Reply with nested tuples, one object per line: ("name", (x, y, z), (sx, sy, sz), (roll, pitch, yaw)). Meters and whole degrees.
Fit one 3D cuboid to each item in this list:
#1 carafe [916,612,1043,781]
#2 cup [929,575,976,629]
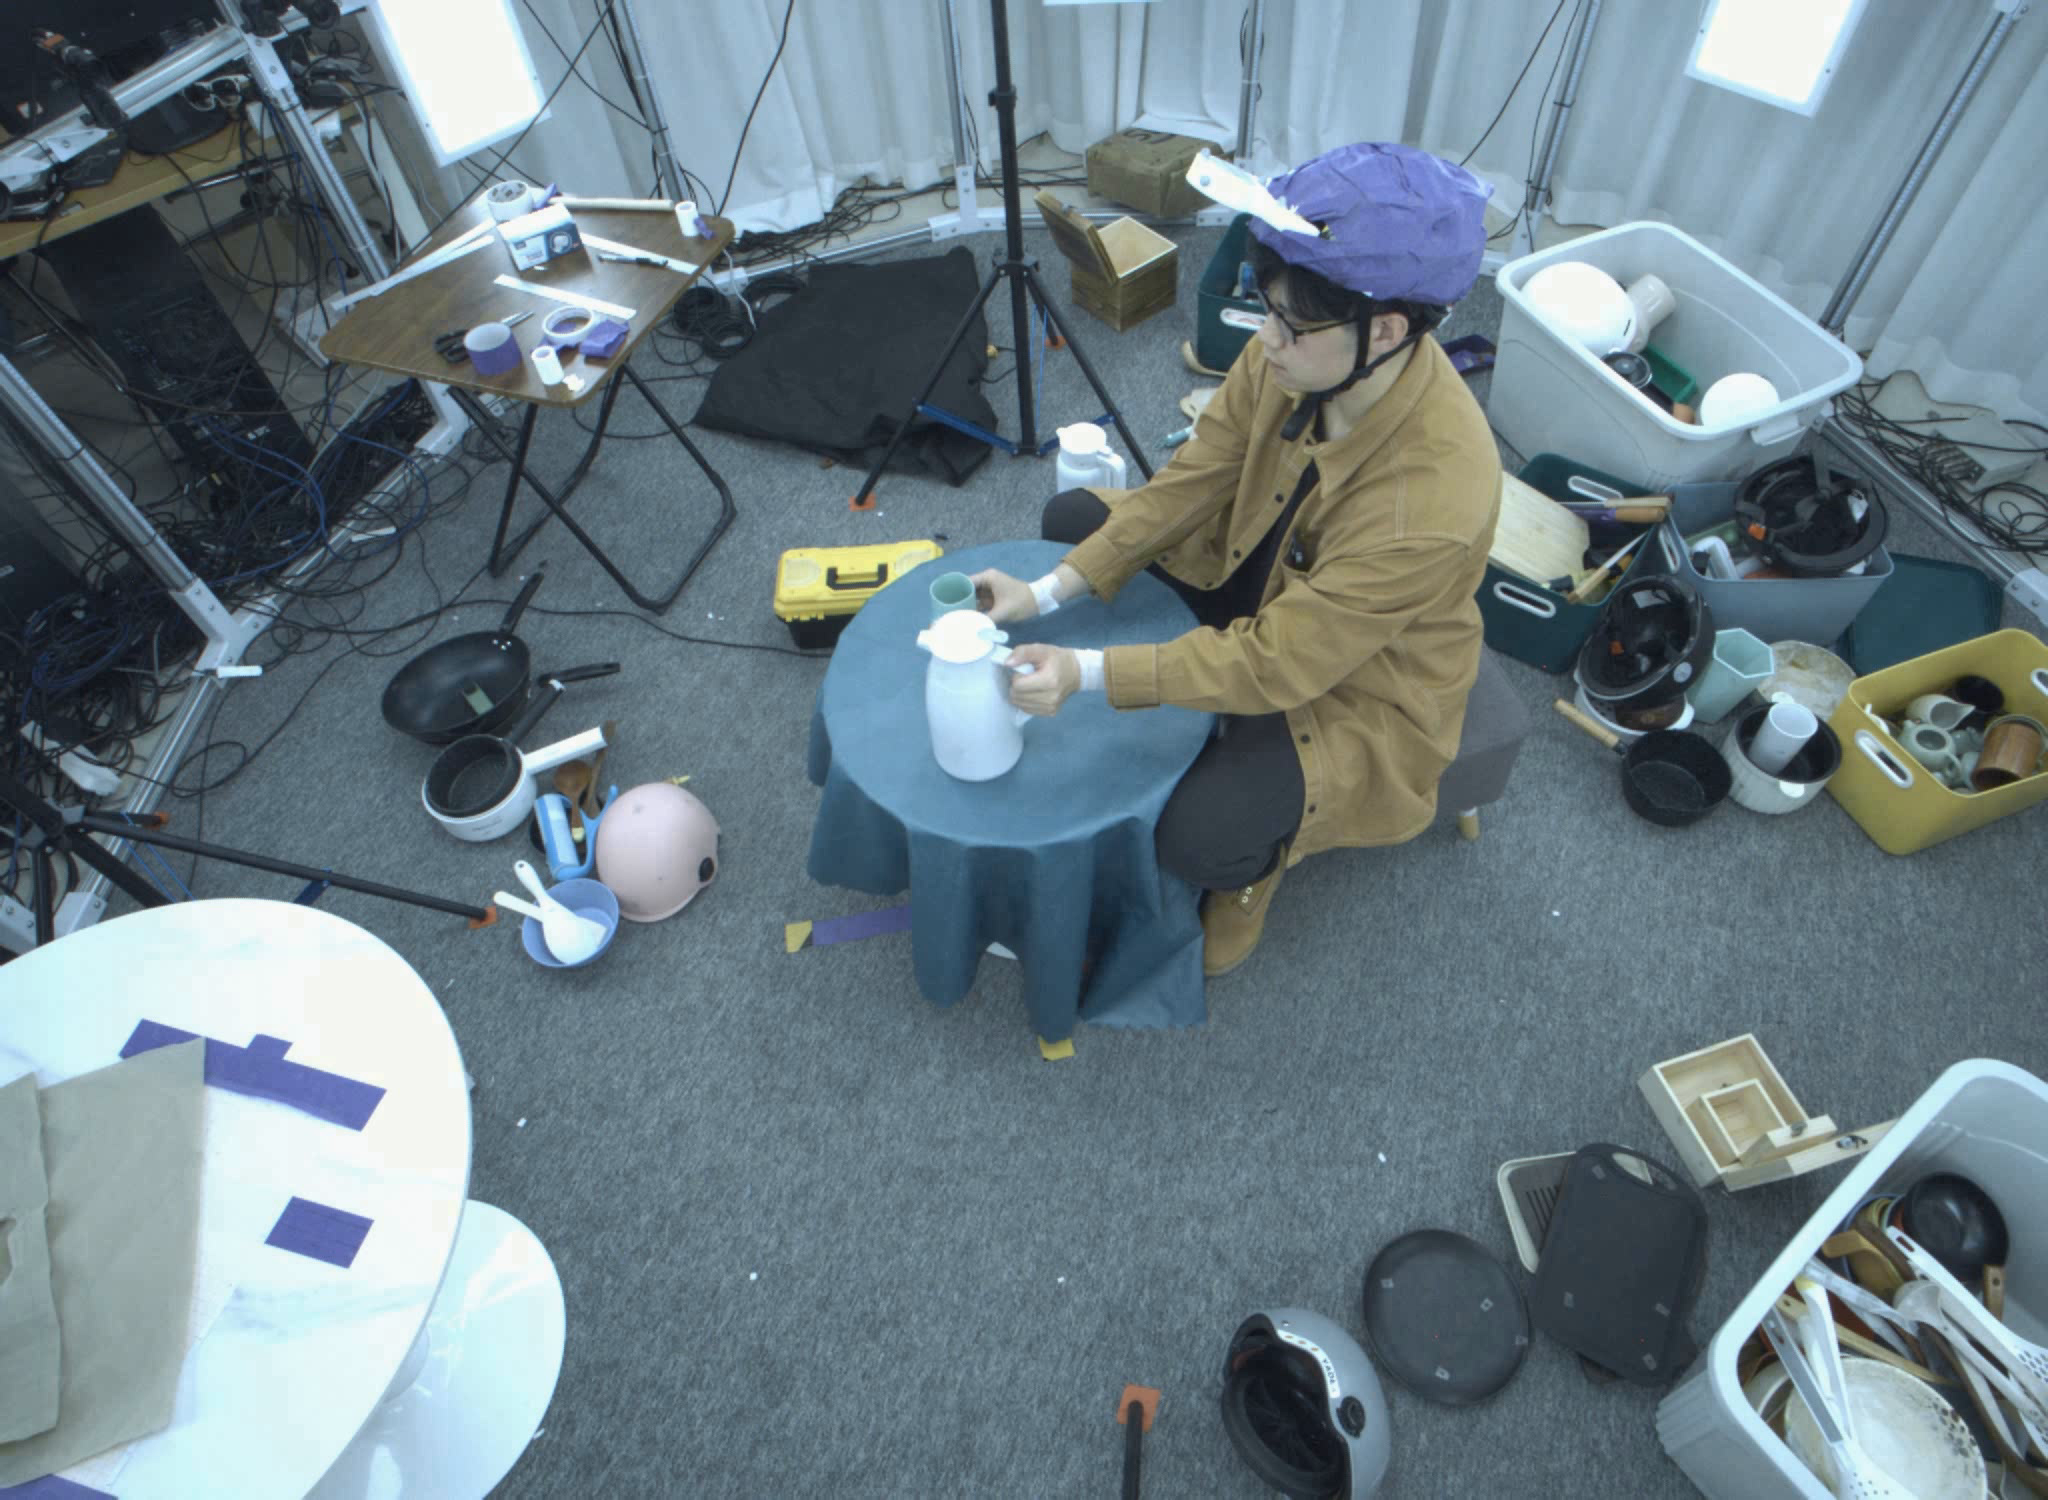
("carafe", (-0.056, -0.077, 1.689), (0.166, 0.251, 0.132), (10, 57, 9))
("cup", (-0.103, -0.196, 1.850), (0.066, 0.134, 0.066), (-1, 54, 3))
